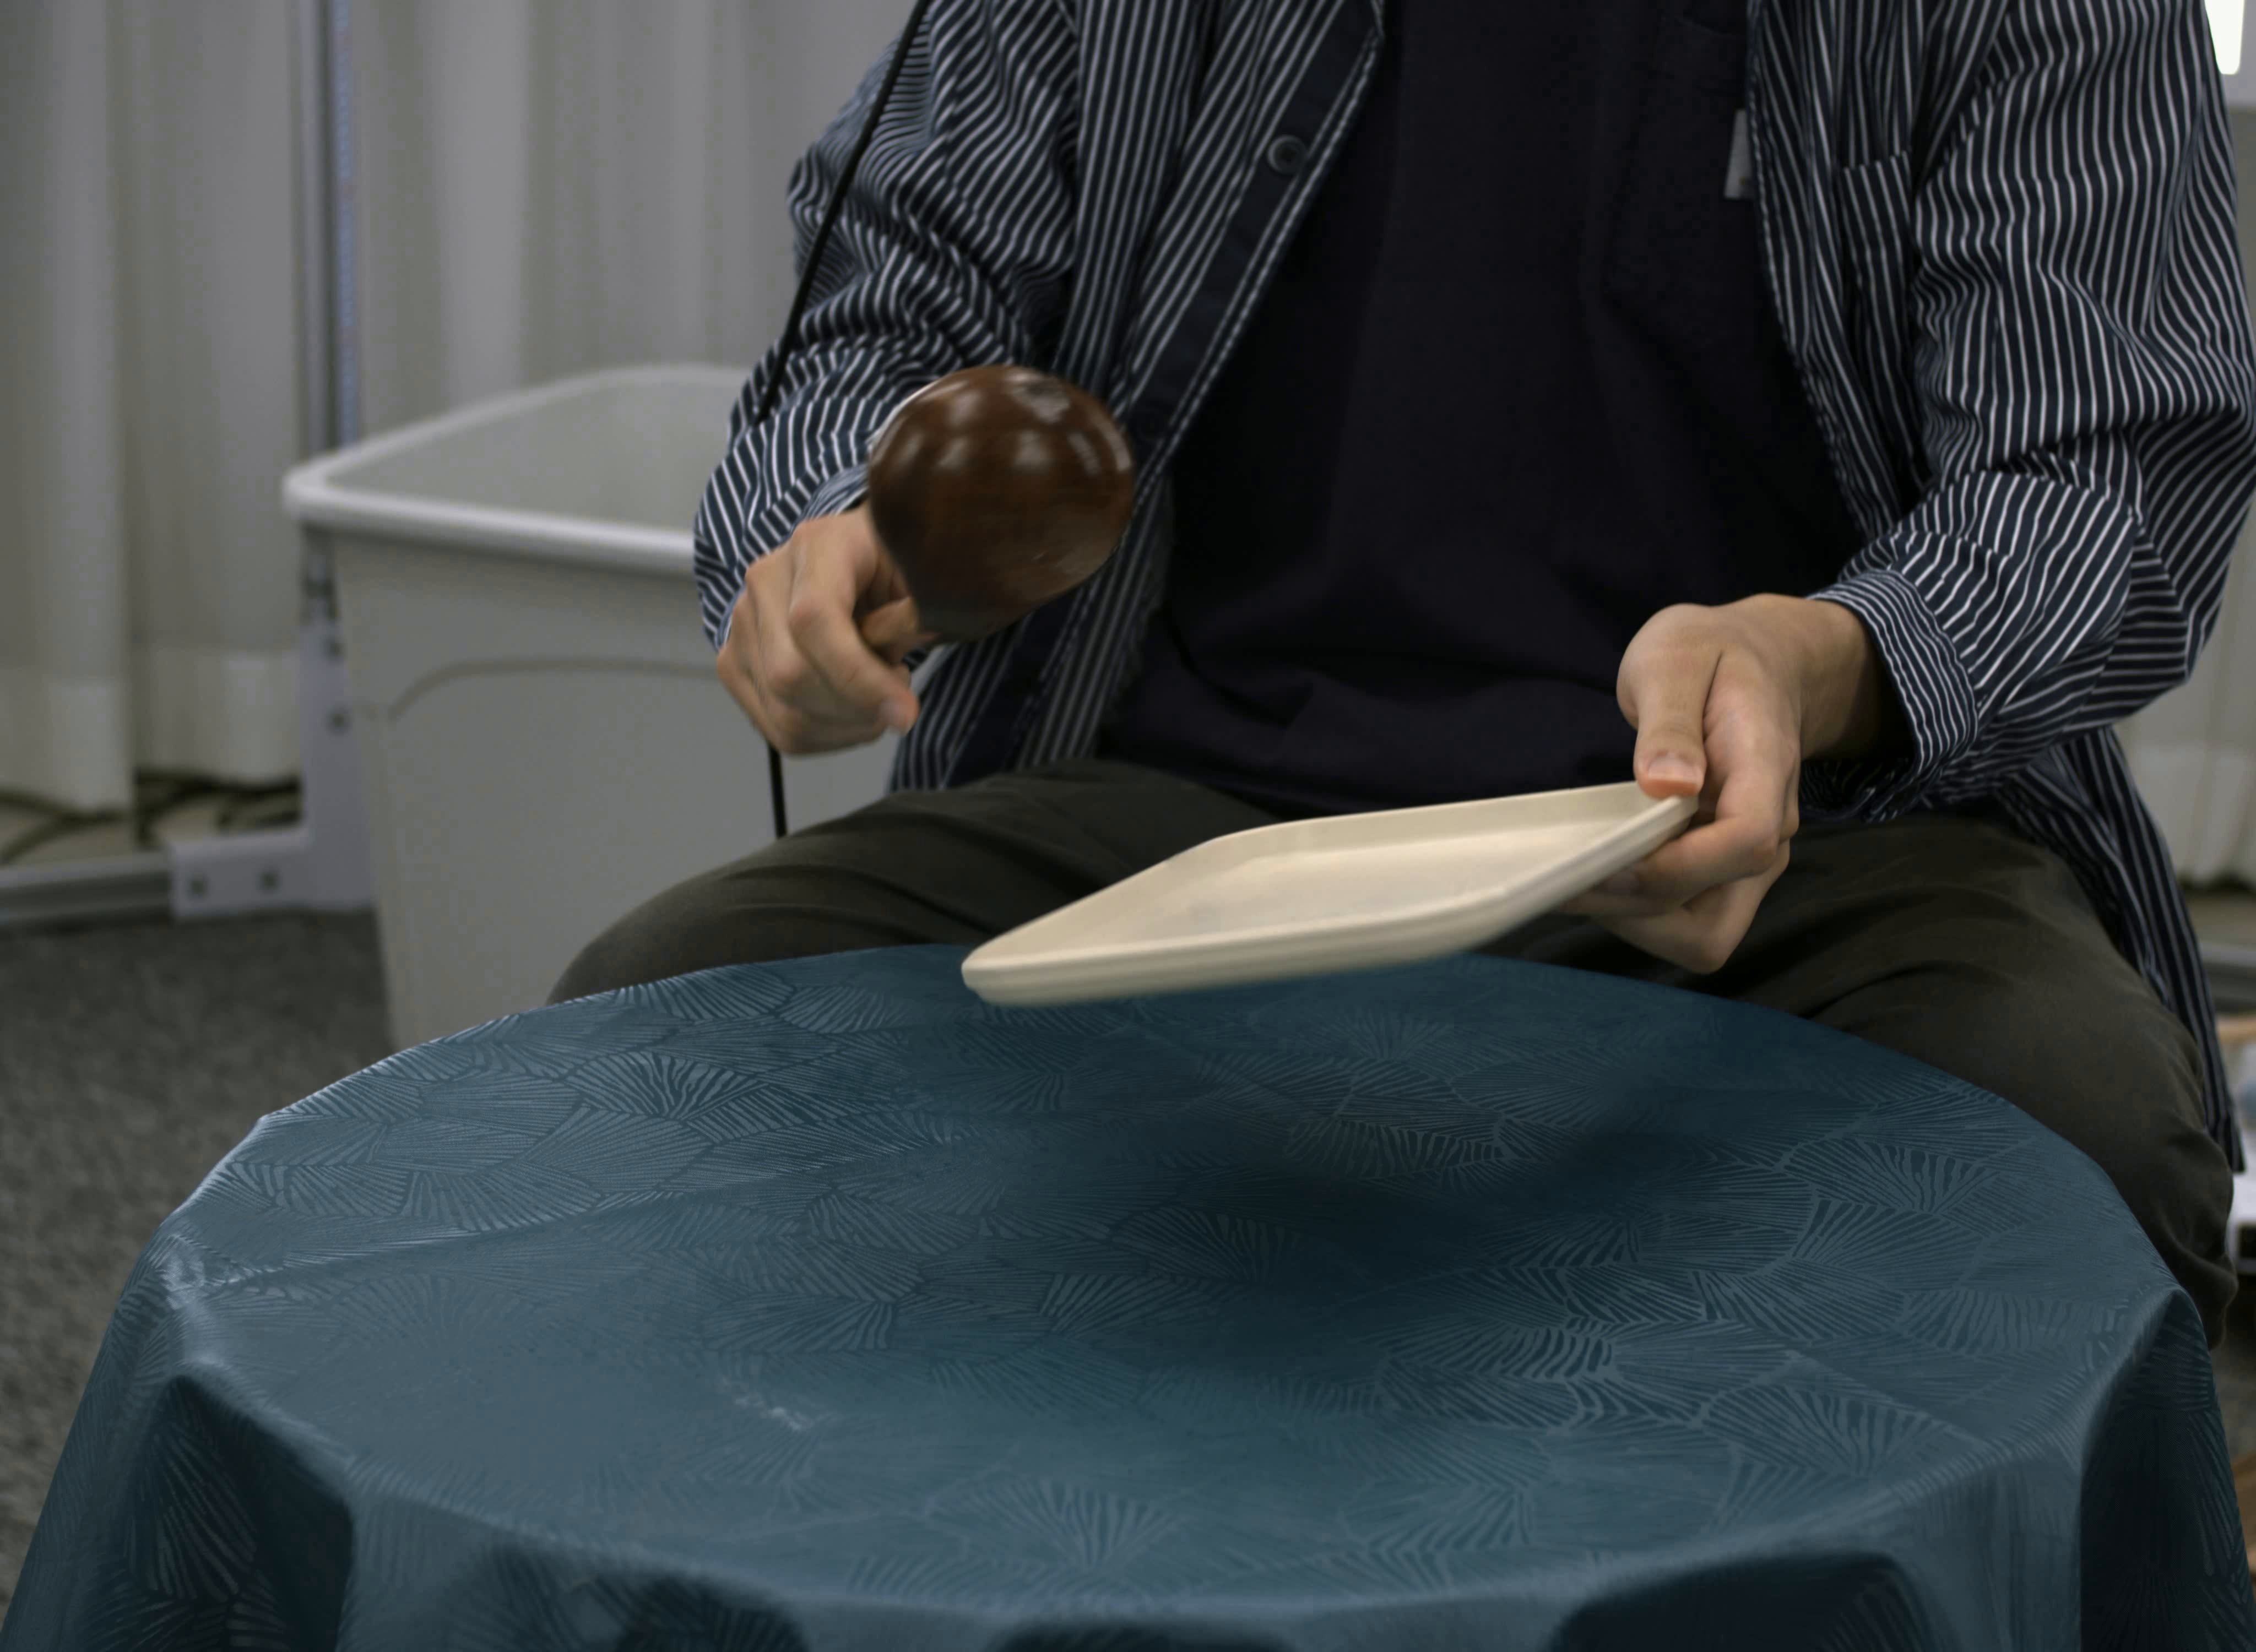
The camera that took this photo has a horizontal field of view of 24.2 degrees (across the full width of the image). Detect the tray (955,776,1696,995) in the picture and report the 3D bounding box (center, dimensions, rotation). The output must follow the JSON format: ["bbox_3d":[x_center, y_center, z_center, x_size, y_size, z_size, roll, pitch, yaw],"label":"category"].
[{"bbox_3d":[0.064,0.018,1.582,0.170,0.017,0.240,-7,6,25],"label":"tray"}]

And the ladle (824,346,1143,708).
[{"bbox_3d":[-0.059,-0.092,1.665,0.082,0.076,0.273,19,-9,-10],"label":"ladle"}]
